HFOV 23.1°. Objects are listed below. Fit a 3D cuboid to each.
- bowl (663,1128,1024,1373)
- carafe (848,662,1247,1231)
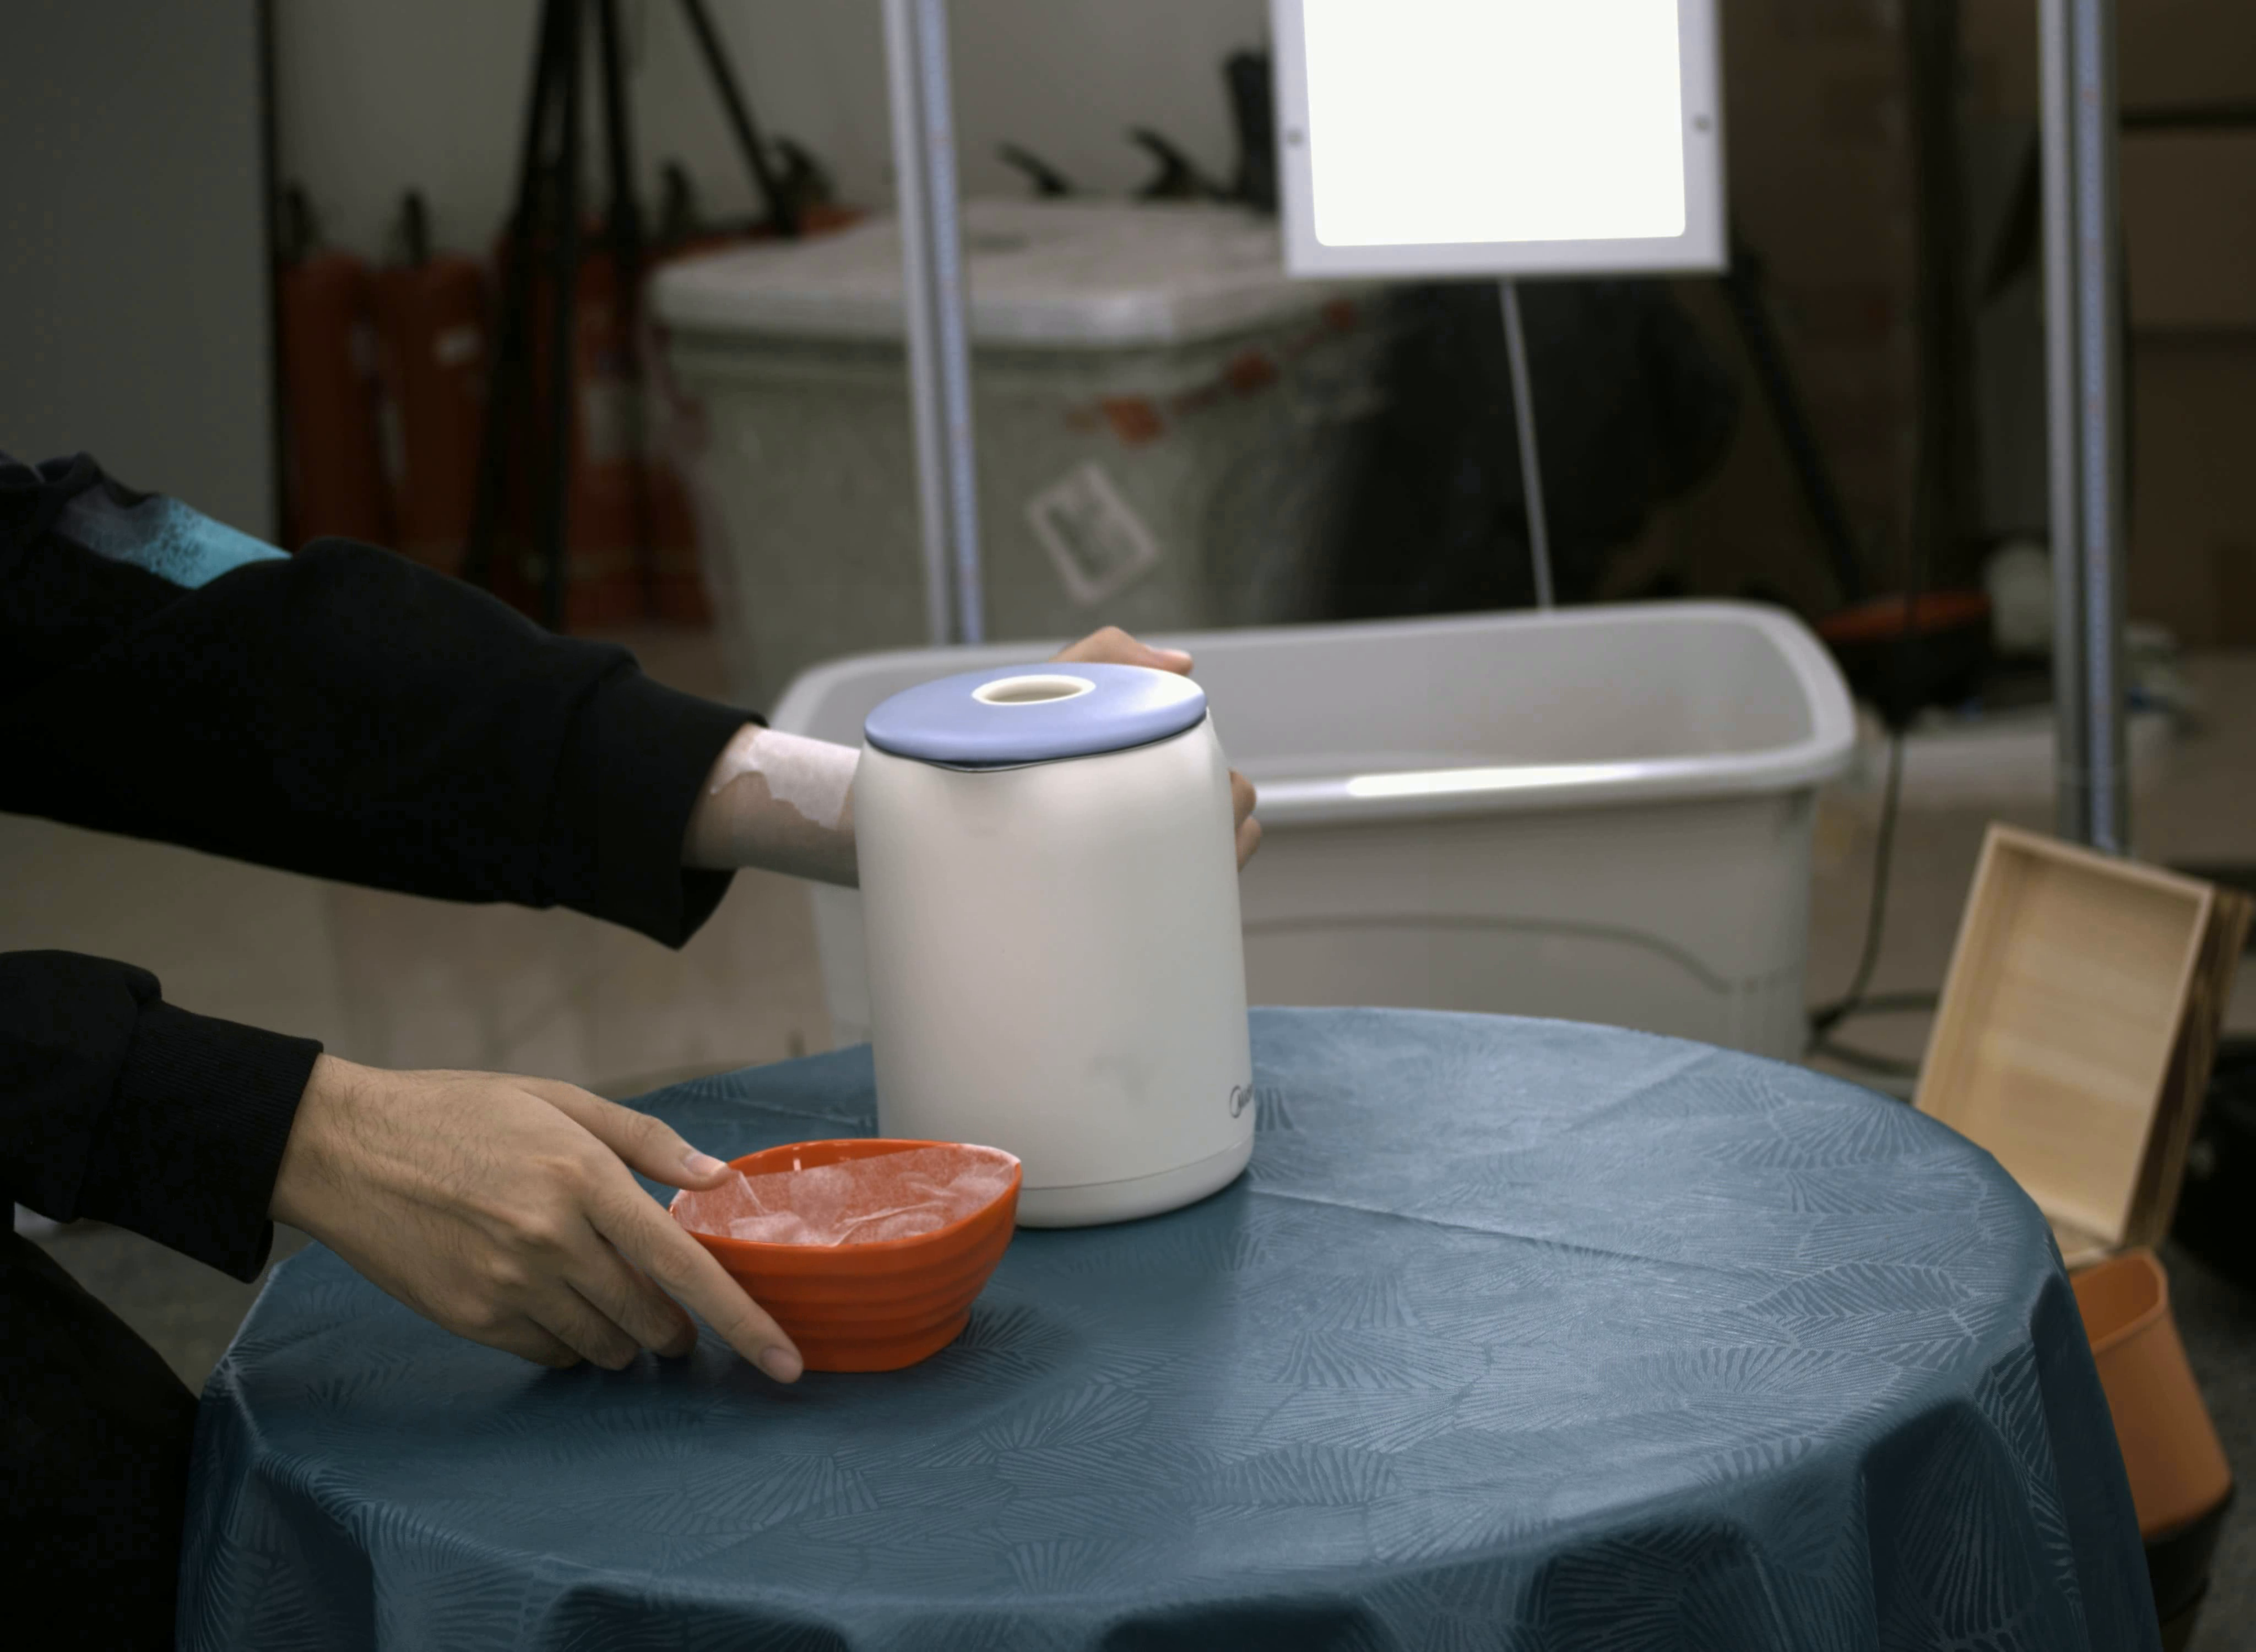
[{"bbox_3d":[-0.089,0.139,1.765,0.118,0.051,0.119,-4,17,0],"label":"bowl"},{"bbox_3d":[-0.021,0.035,1.918,0.133,0.183,0.188,1,12,16],"label":"carafe"}]
